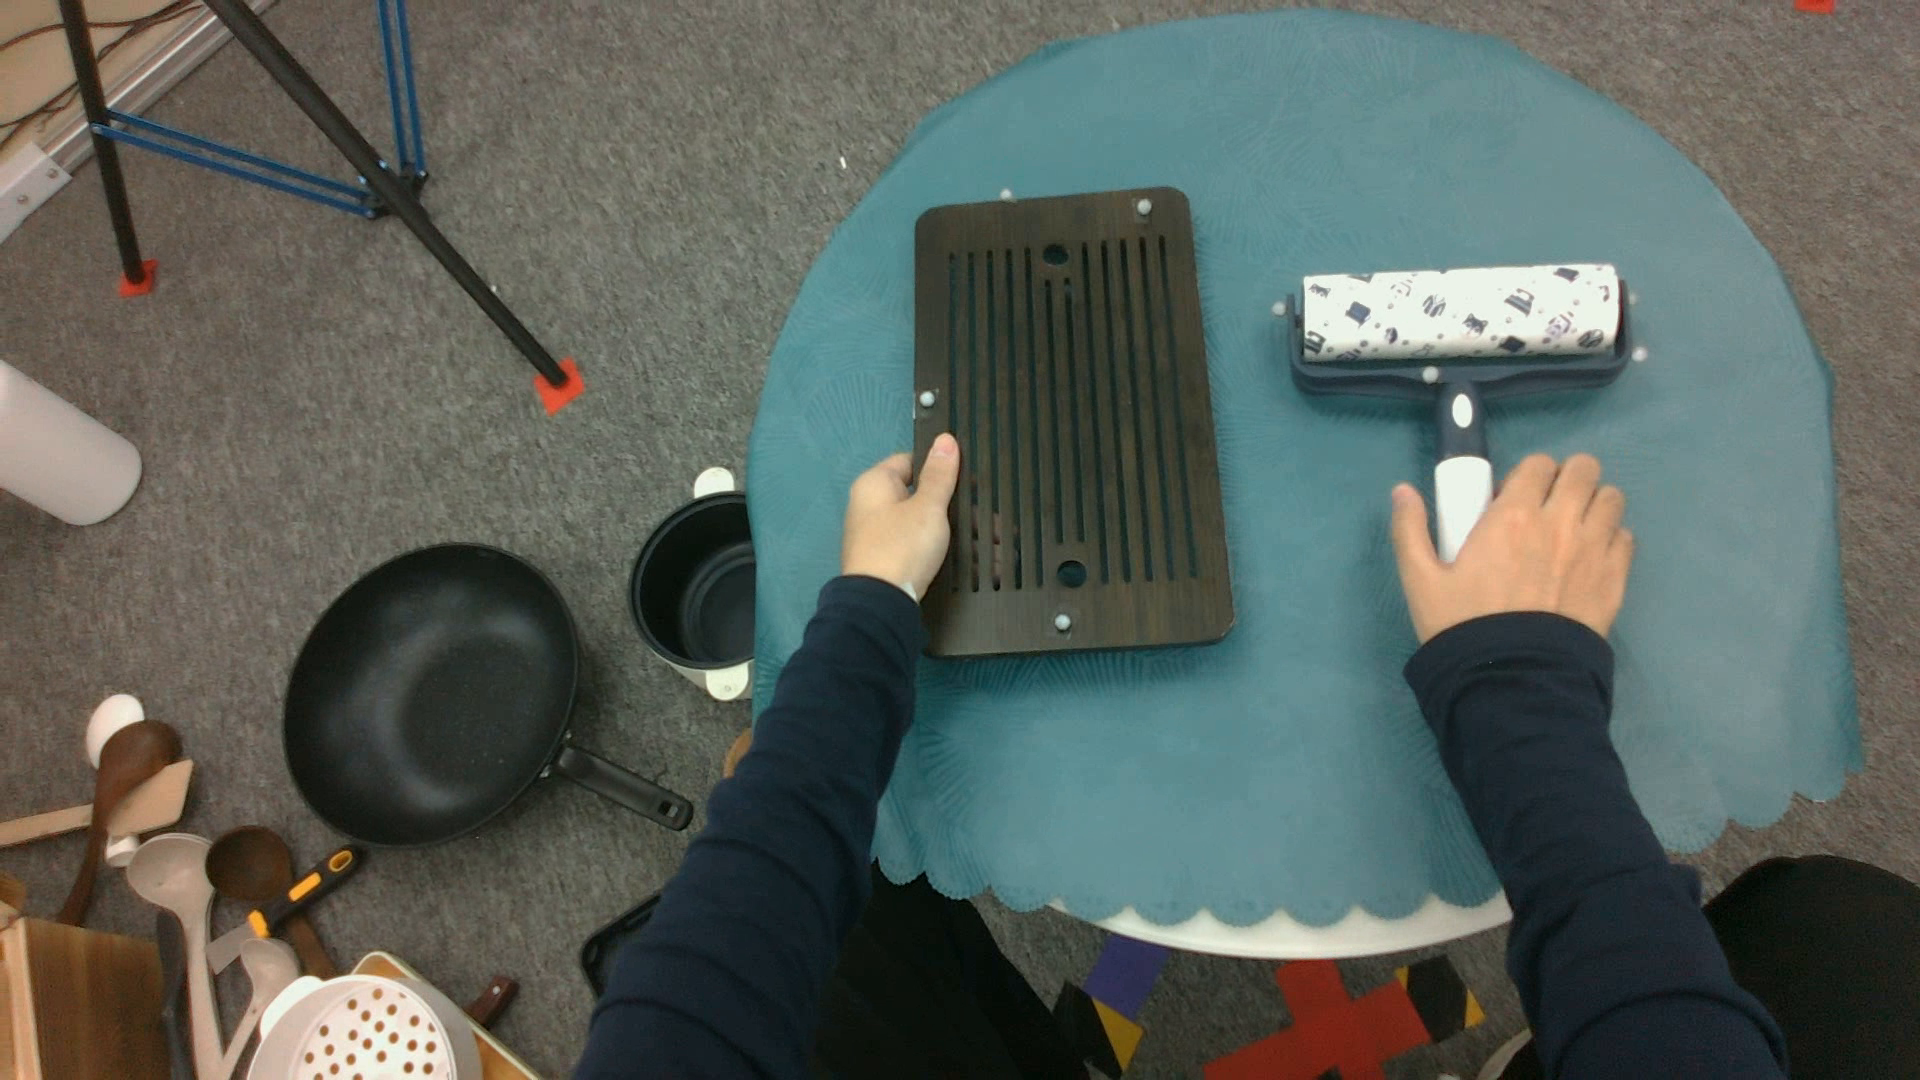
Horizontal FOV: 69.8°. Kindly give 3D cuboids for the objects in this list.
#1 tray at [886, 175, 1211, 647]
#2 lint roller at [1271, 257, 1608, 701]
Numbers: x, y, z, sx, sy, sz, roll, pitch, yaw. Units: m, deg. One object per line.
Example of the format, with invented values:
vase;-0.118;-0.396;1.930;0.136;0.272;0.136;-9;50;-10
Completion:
tray;0.045;-0.082;0.786;0.170;0.018;0.307;-3;62;6
lint roller;0.258;-0.039;0.730;0.176;0.050;0.248;0;69;9
